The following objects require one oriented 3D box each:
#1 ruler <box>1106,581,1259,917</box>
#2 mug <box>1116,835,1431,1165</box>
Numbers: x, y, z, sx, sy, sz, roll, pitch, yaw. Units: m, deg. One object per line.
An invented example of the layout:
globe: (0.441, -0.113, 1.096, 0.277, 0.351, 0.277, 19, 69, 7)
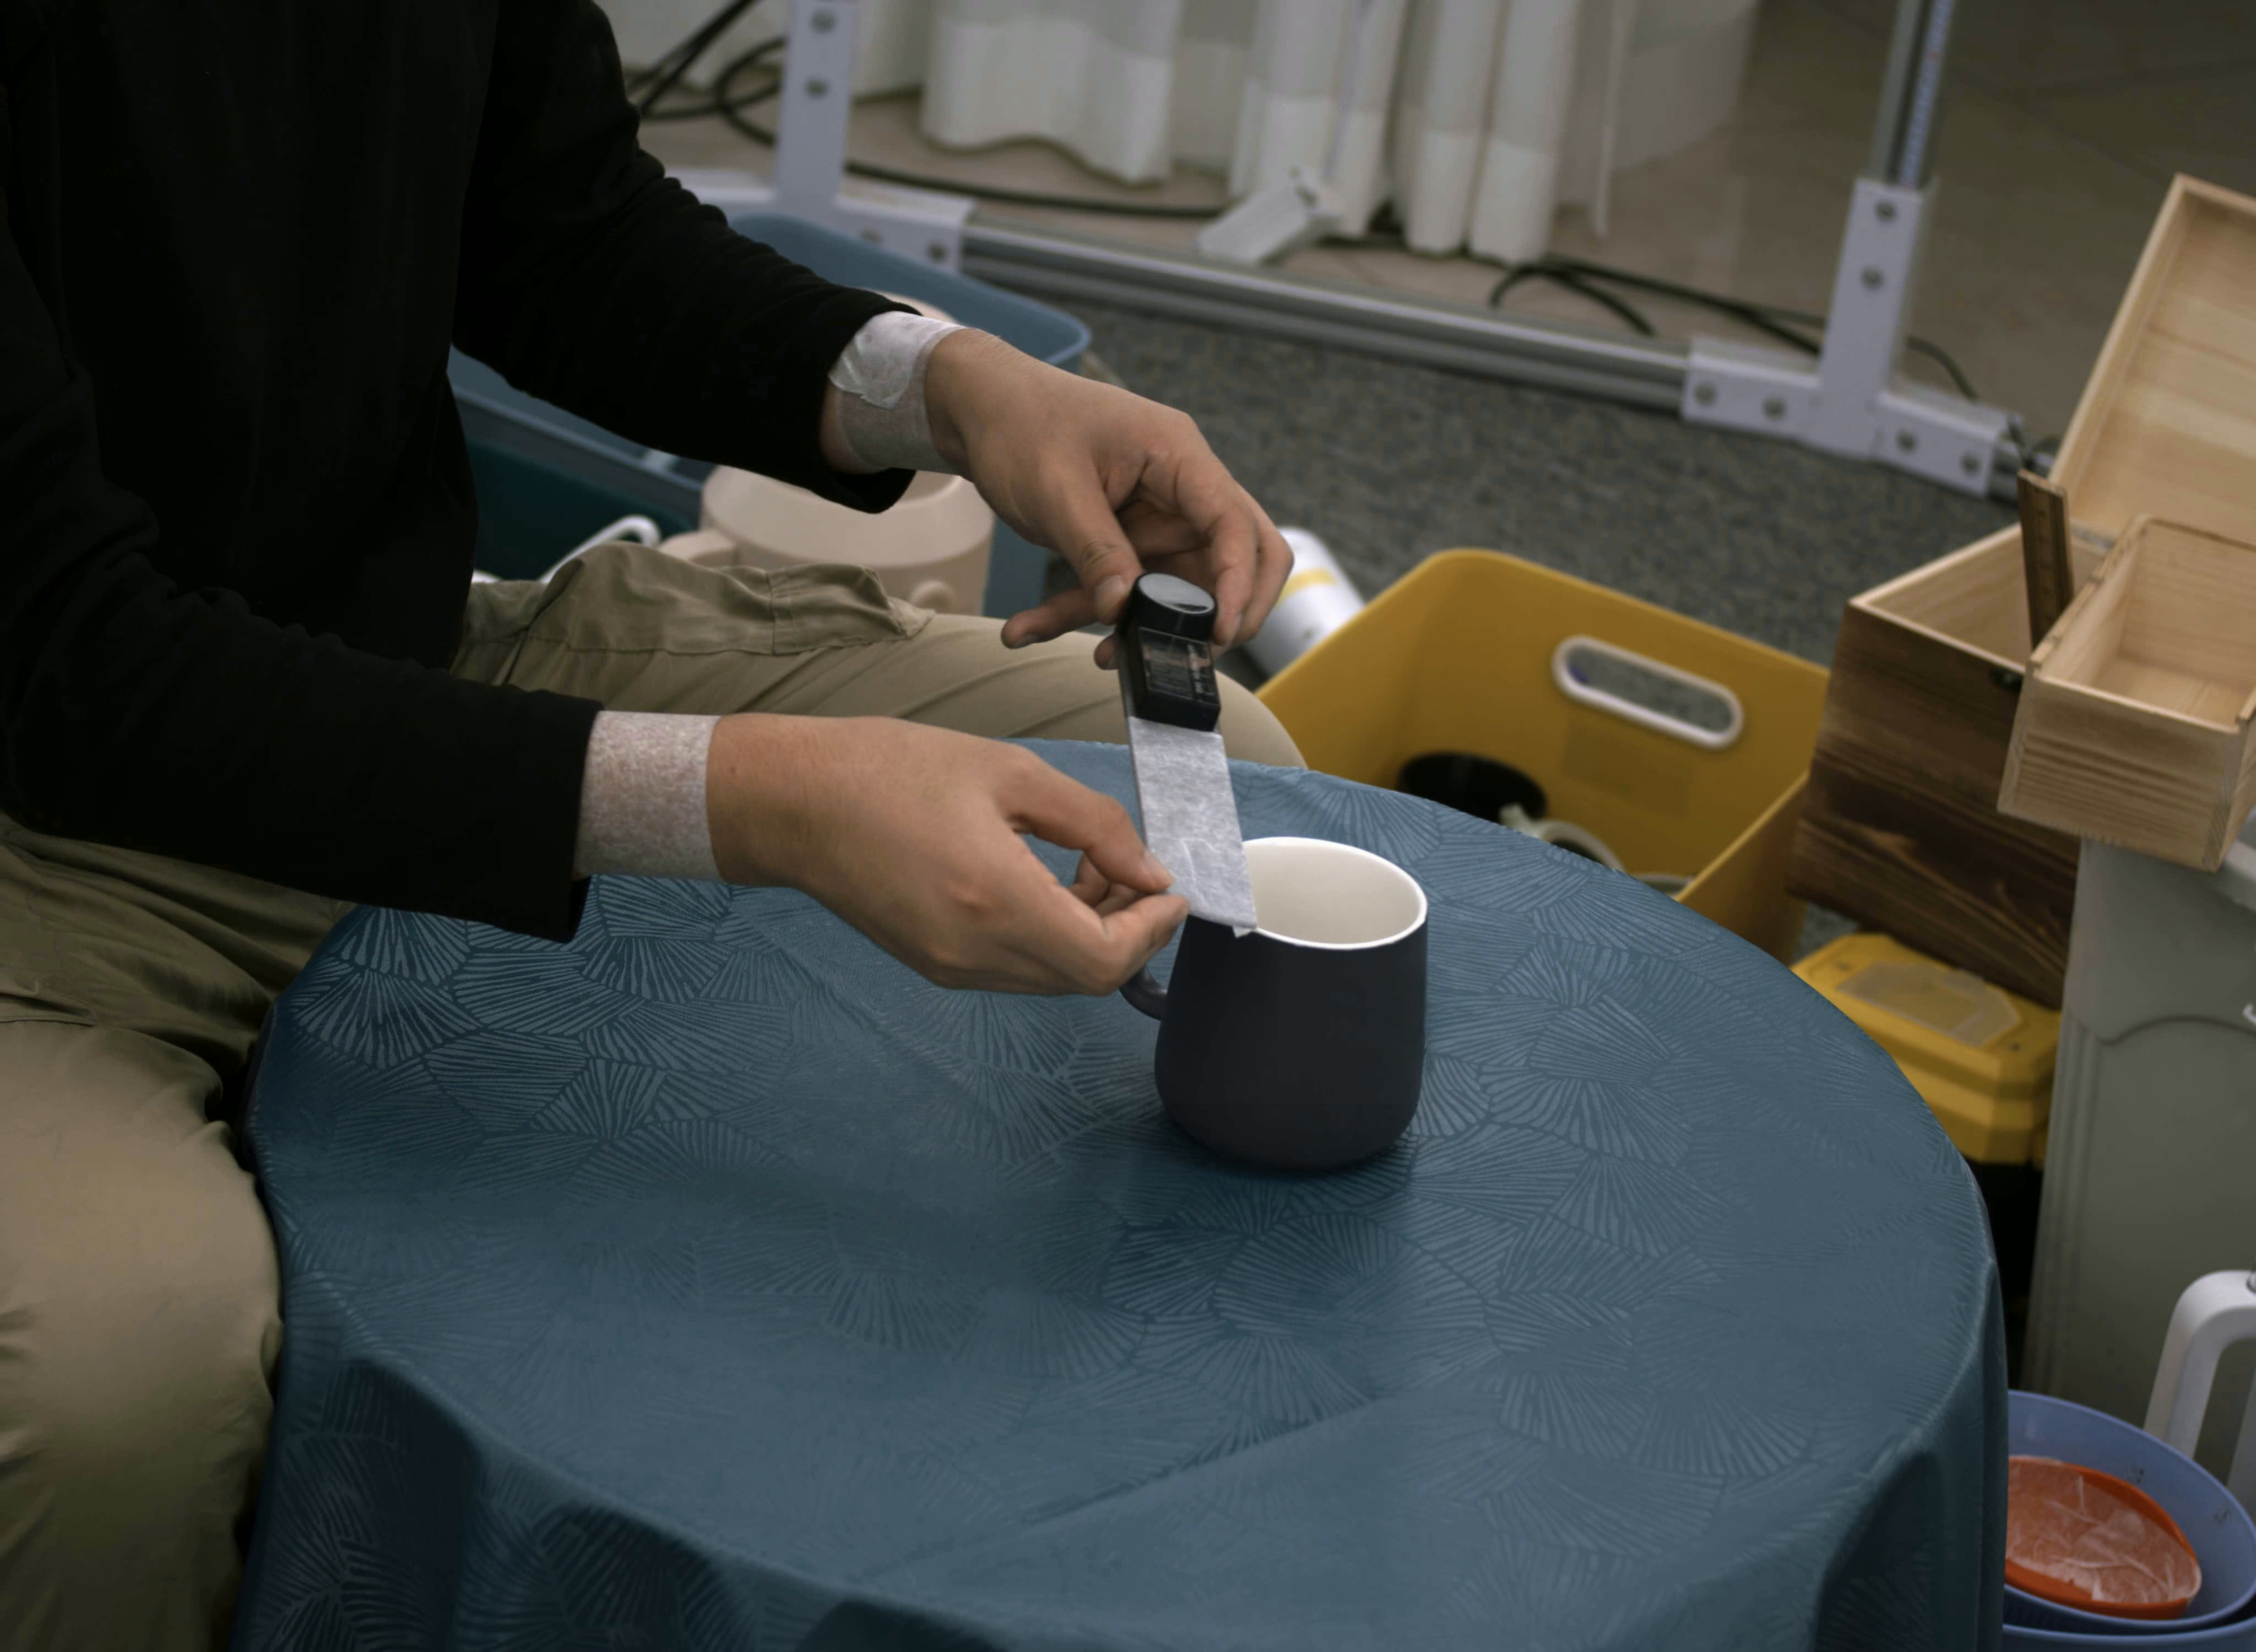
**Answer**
ruler: (0.019, -0.030, 1.844, 0.038, 0.024, 0.219, 7, 26, -8)
mug: (0.047, 0.055, 1.845, 0.124, 0.089, 0.093, 26, 32, 32)
